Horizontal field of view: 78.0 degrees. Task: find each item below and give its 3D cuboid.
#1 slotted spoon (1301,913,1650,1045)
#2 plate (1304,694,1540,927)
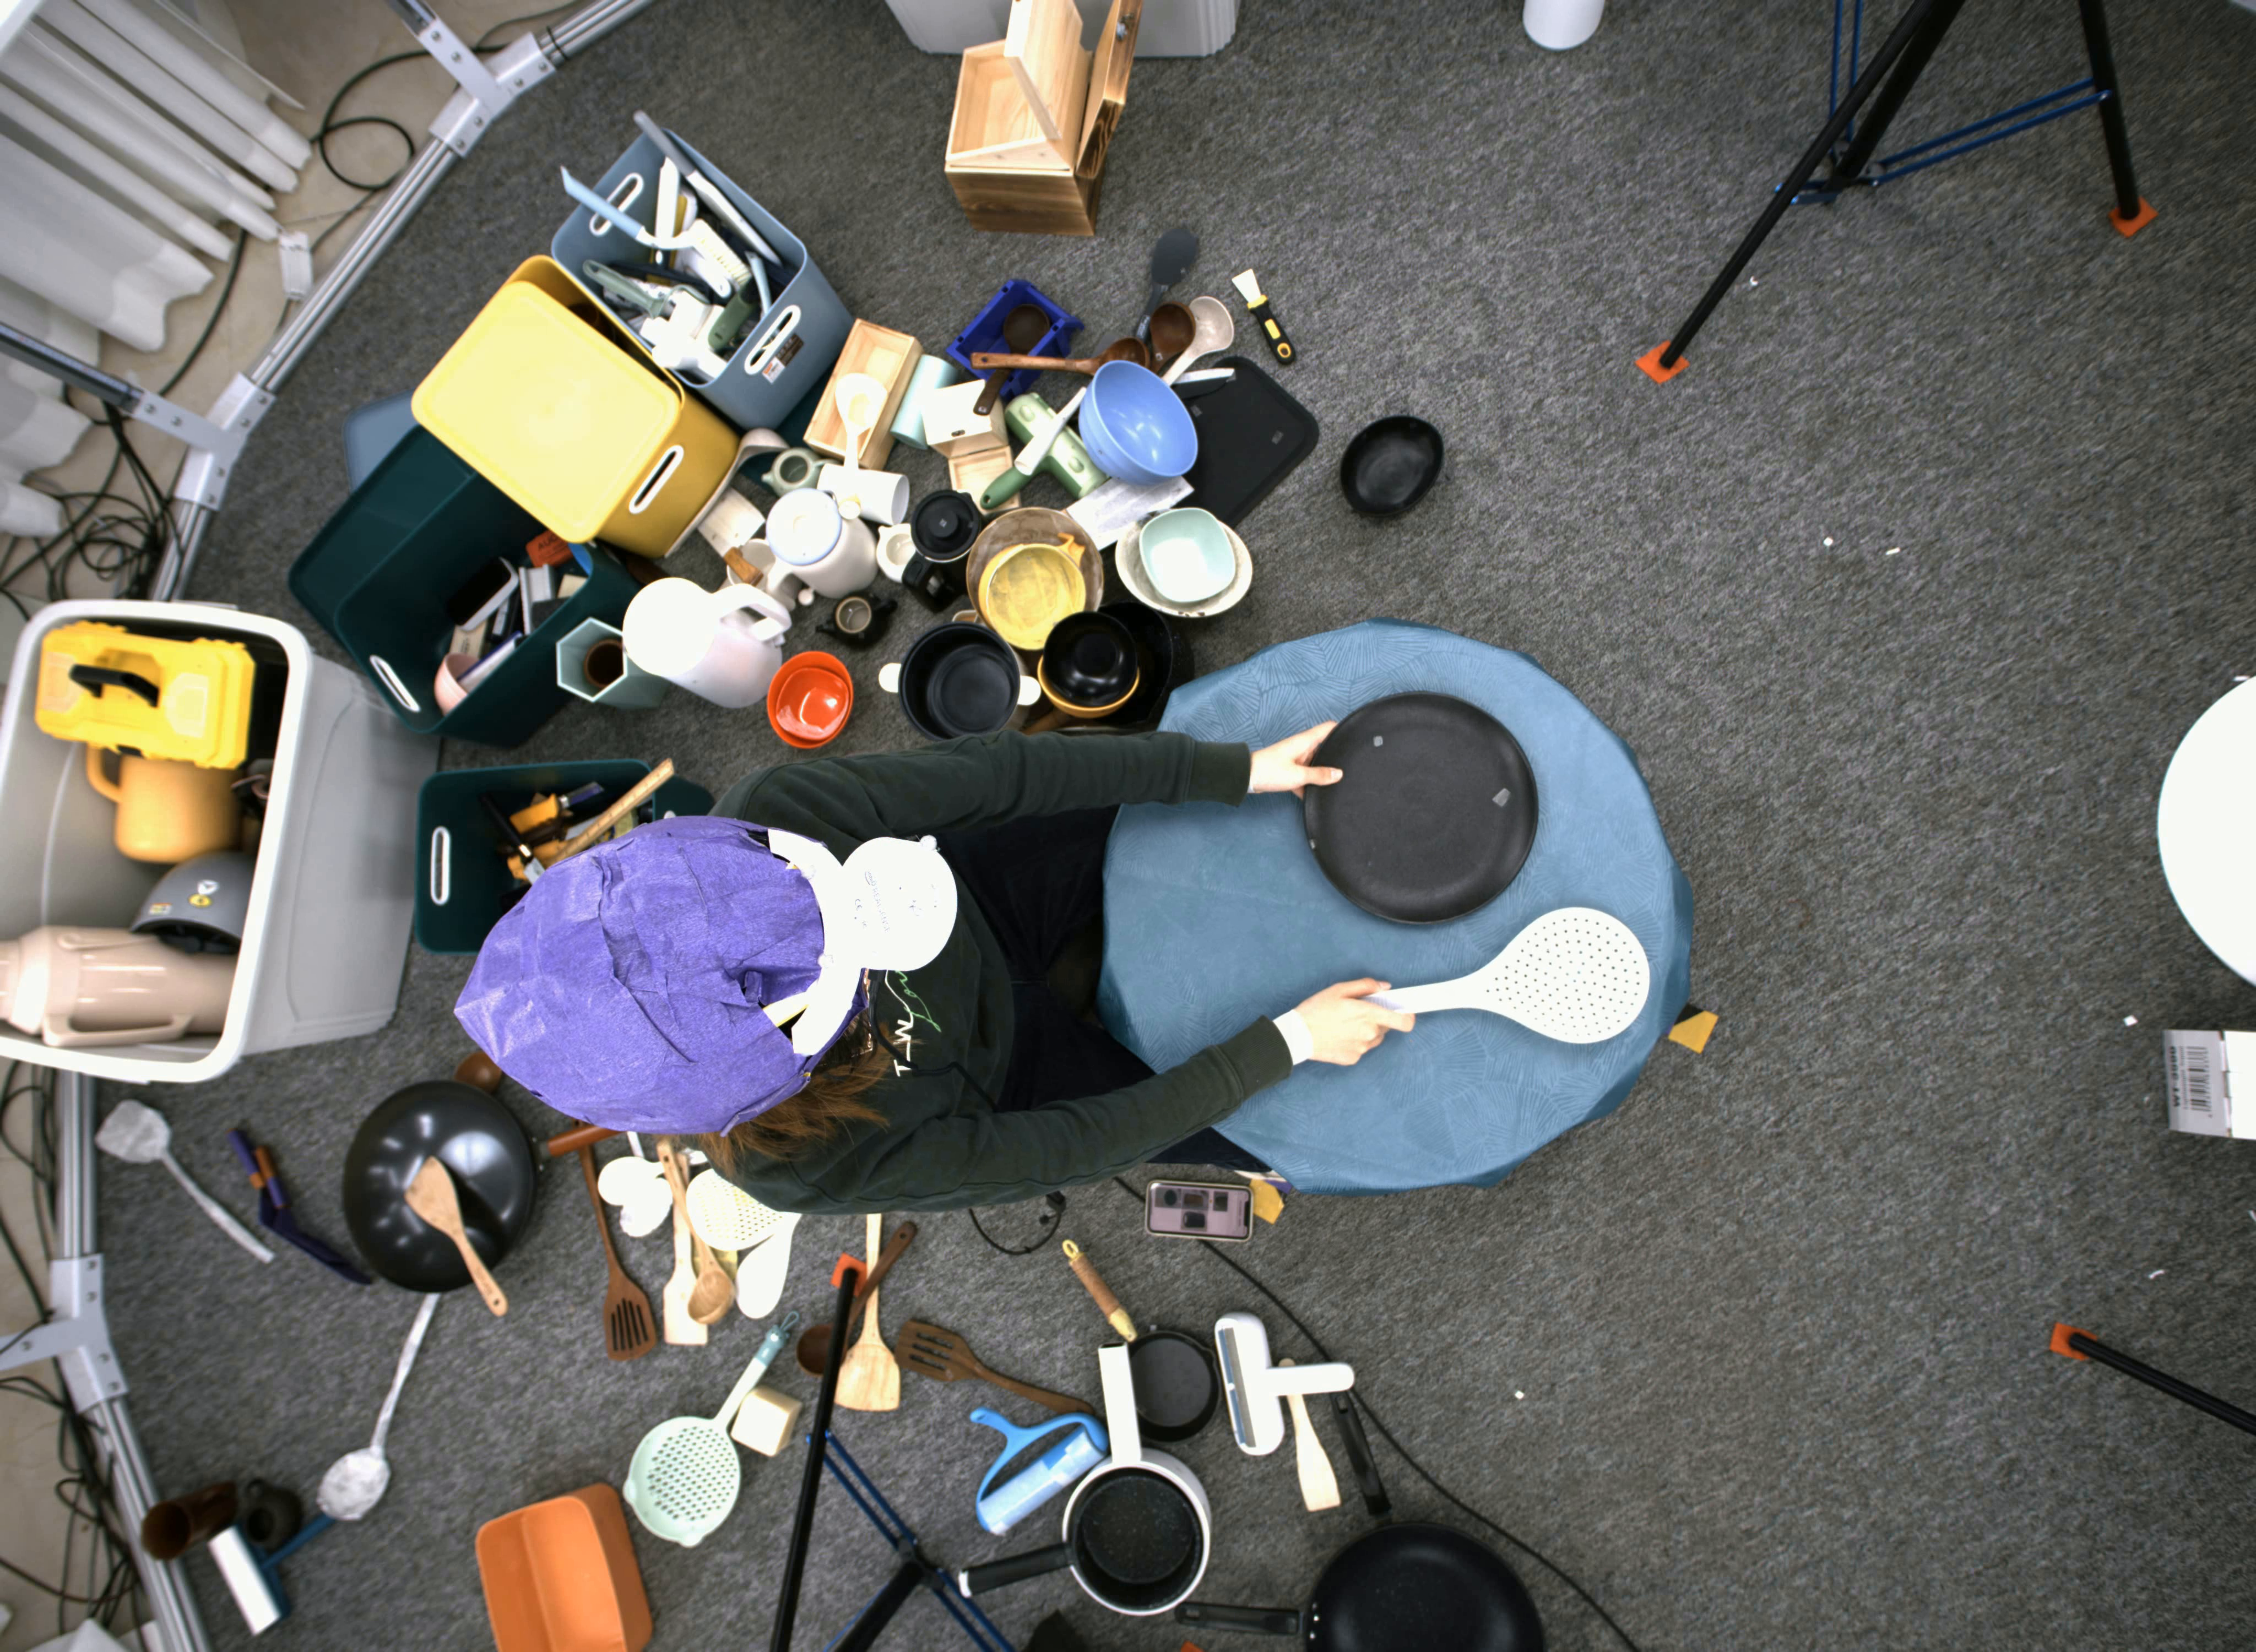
[{"bbox_3d":[0.352,0.170,1.411,0.351,0.046,0.134,-8,73,6],"label":"slotted spoon"},{"bbox_3d":[0.307,-0.018,1.443,0.245,0.023,0.244,0,90,6],"label":"plate"}]
